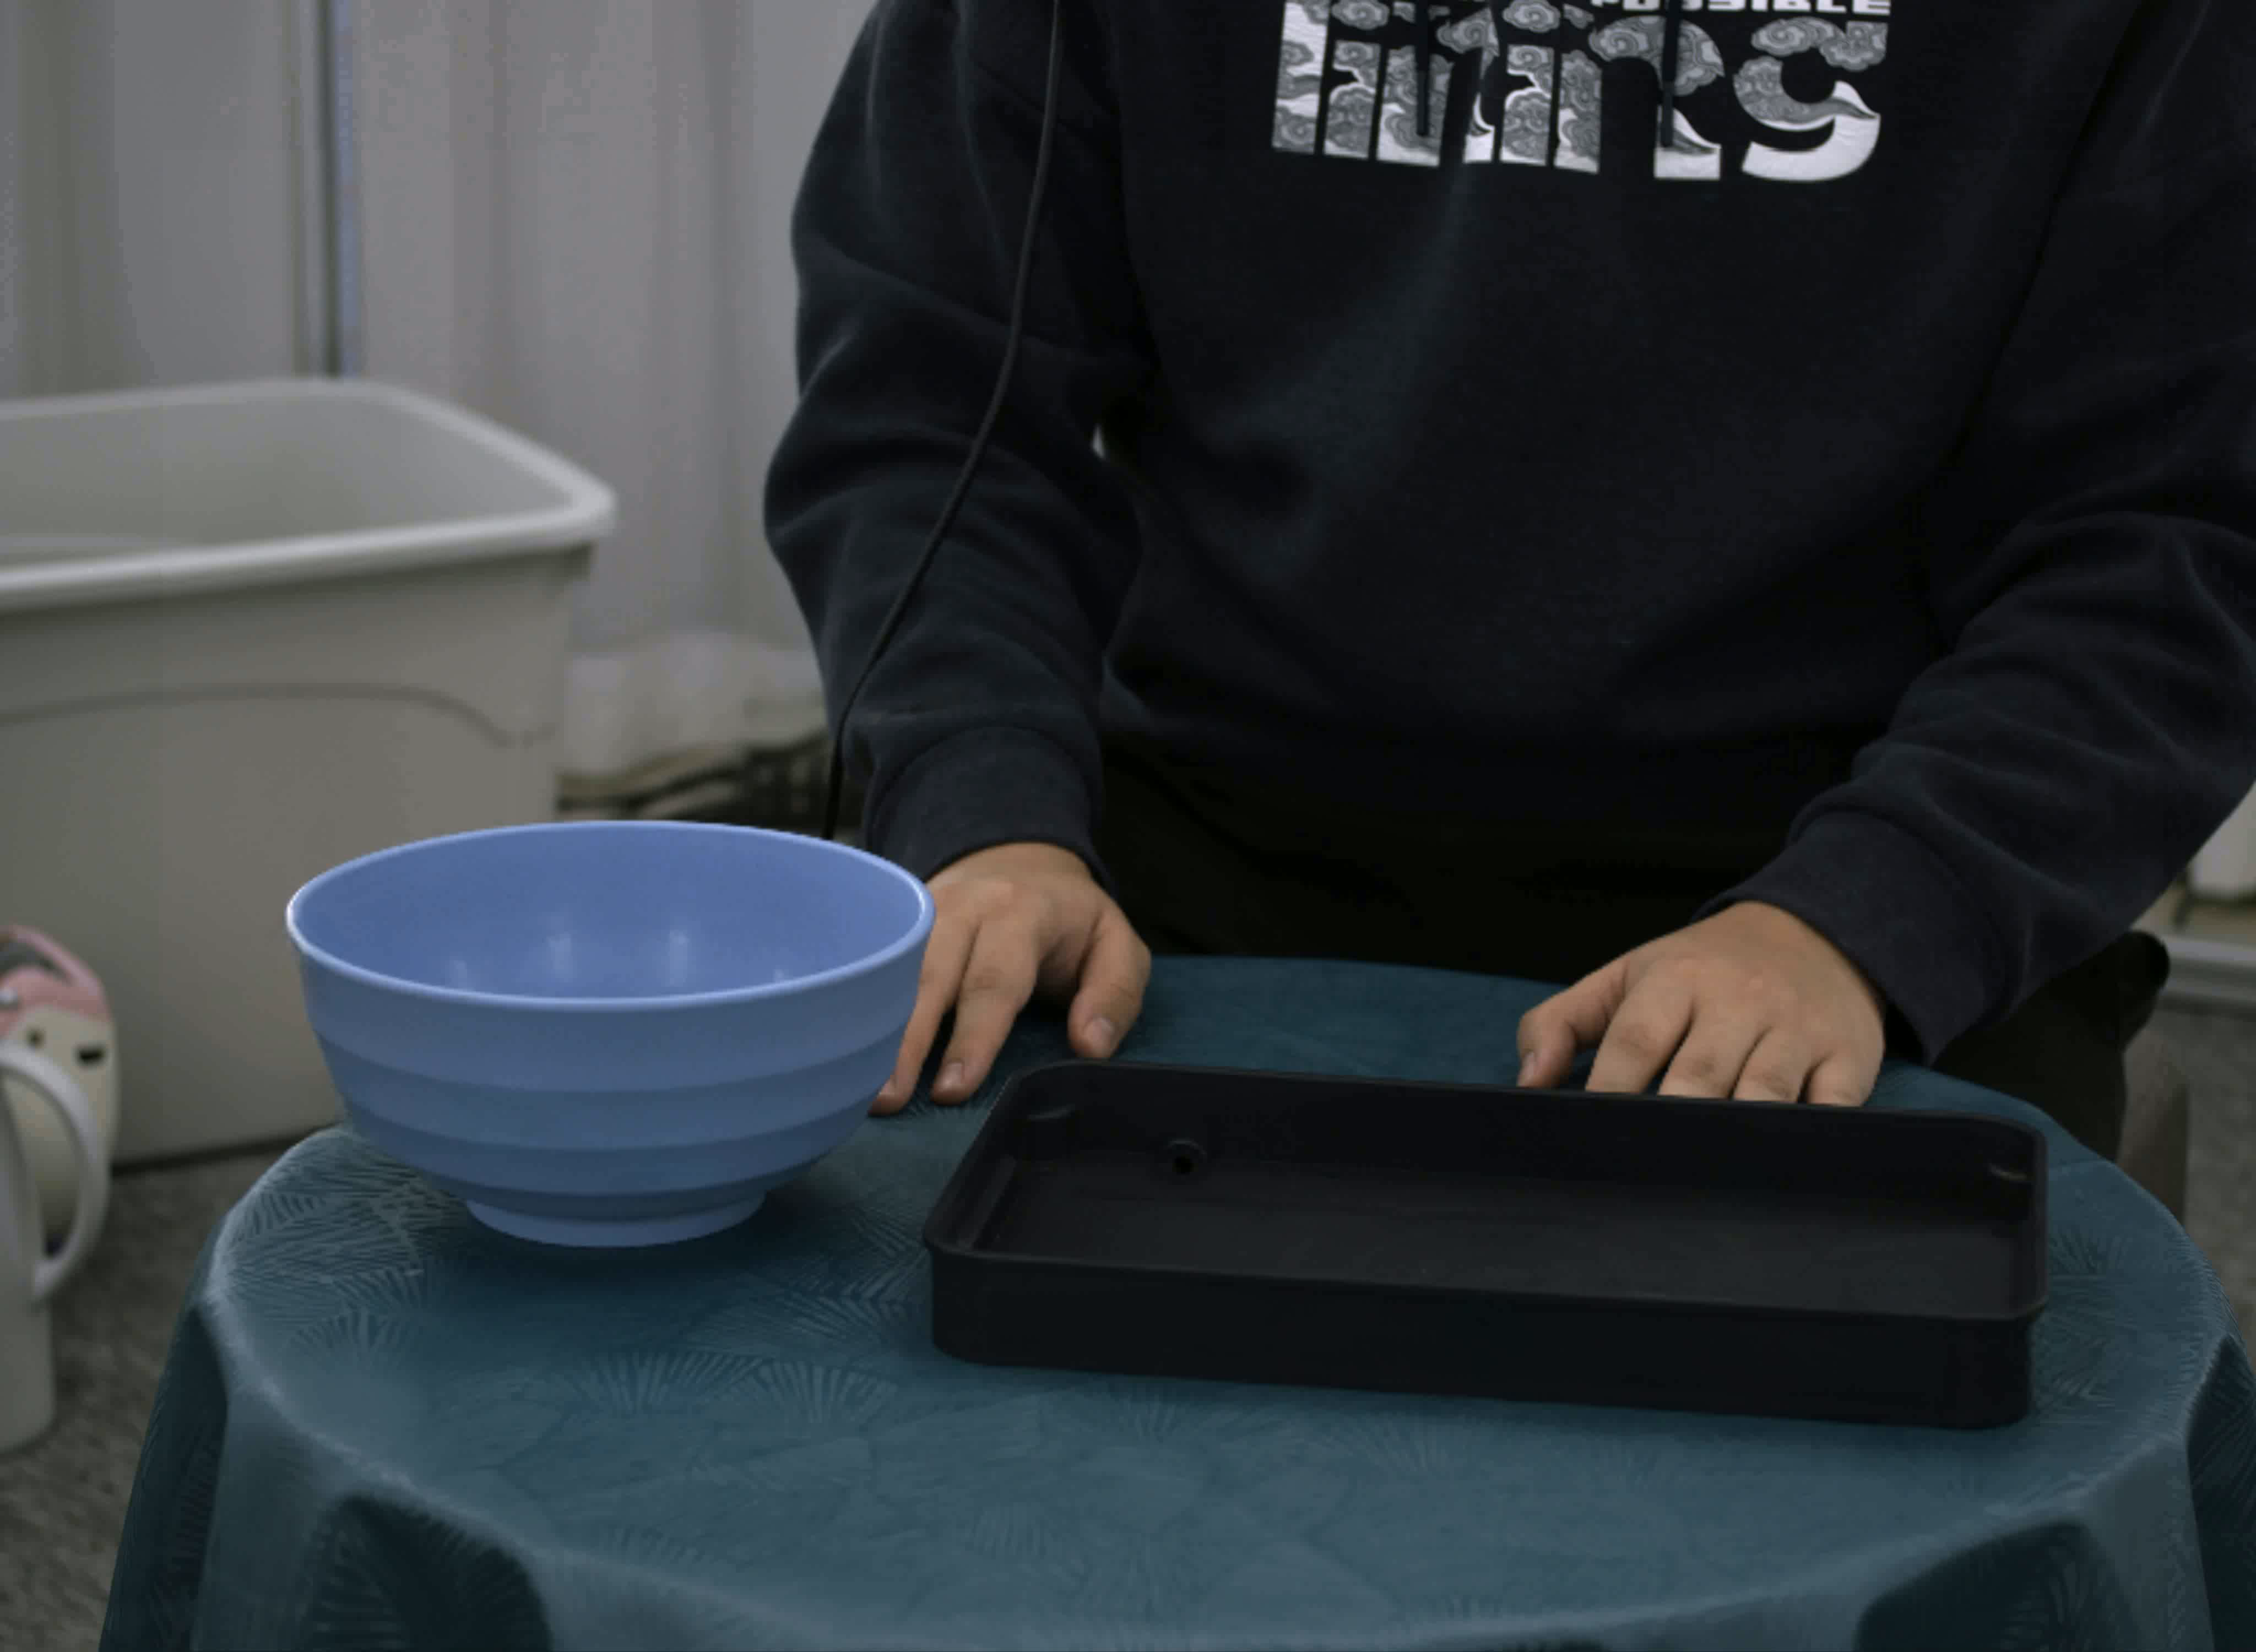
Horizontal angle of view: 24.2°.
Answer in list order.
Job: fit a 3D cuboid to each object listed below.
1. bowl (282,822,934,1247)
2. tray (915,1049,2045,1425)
[{"bbox_3d":[-0.155,0.068,1.599,0.196,0.096,0.195,-1,16,1],"label":"bowl"},{"bbox_3d":[0.107,0.117,1.542,0.316,0.037,0.184,3,15,8],"label":"tray"}]
